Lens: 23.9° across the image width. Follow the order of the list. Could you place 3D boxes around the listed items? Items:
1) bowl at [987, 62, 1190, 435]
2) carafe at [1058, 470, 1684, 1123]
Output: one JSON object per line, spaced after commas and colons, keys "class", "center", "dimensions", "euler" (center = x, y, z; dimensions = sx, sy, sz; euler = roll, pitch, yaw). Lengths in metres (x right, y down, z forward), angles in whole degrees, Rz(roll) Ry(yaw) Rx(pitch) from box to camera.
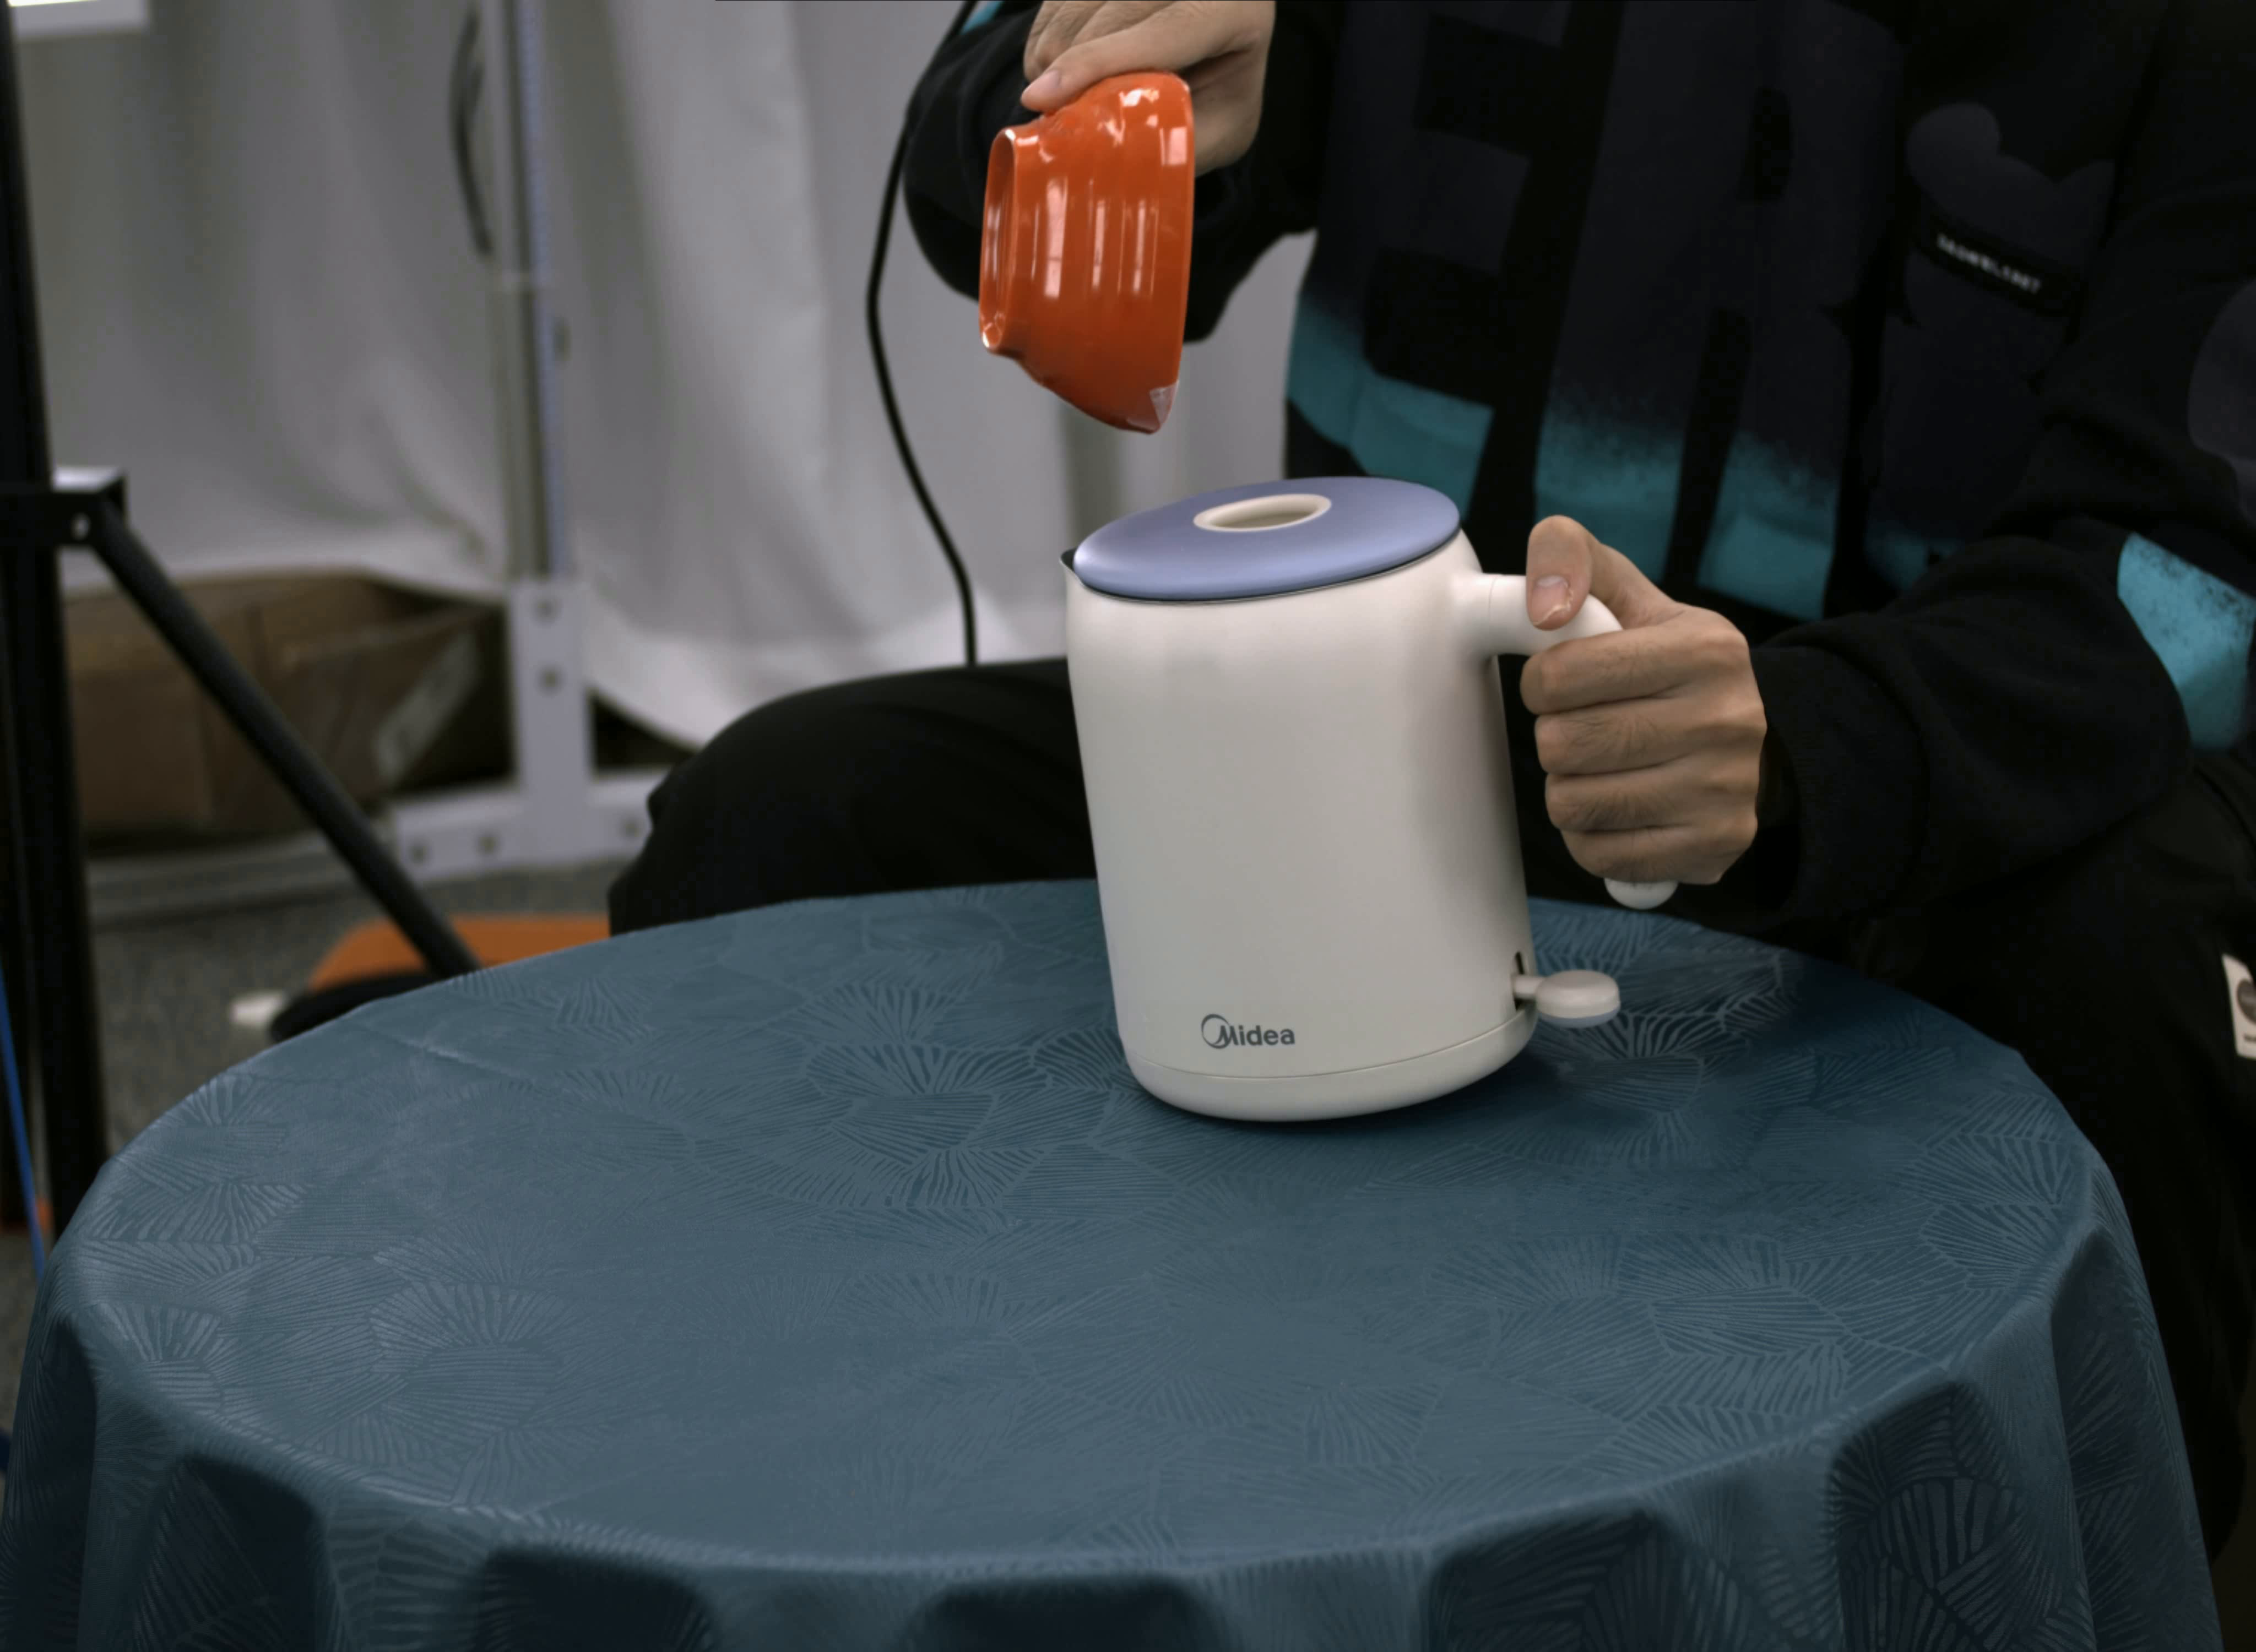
{"class": "bowl", "center": [-0.014, -0.173, 1.597], "dimensions": [0.051, 0.119, 0.120], "euler": [1, 15, -6]}
{"class": "carafe", "center": [0.075, -0.009, 1.623], "dimensions": [0.193, 0.182, 0.130], "euler": [2, 19, 23]}
